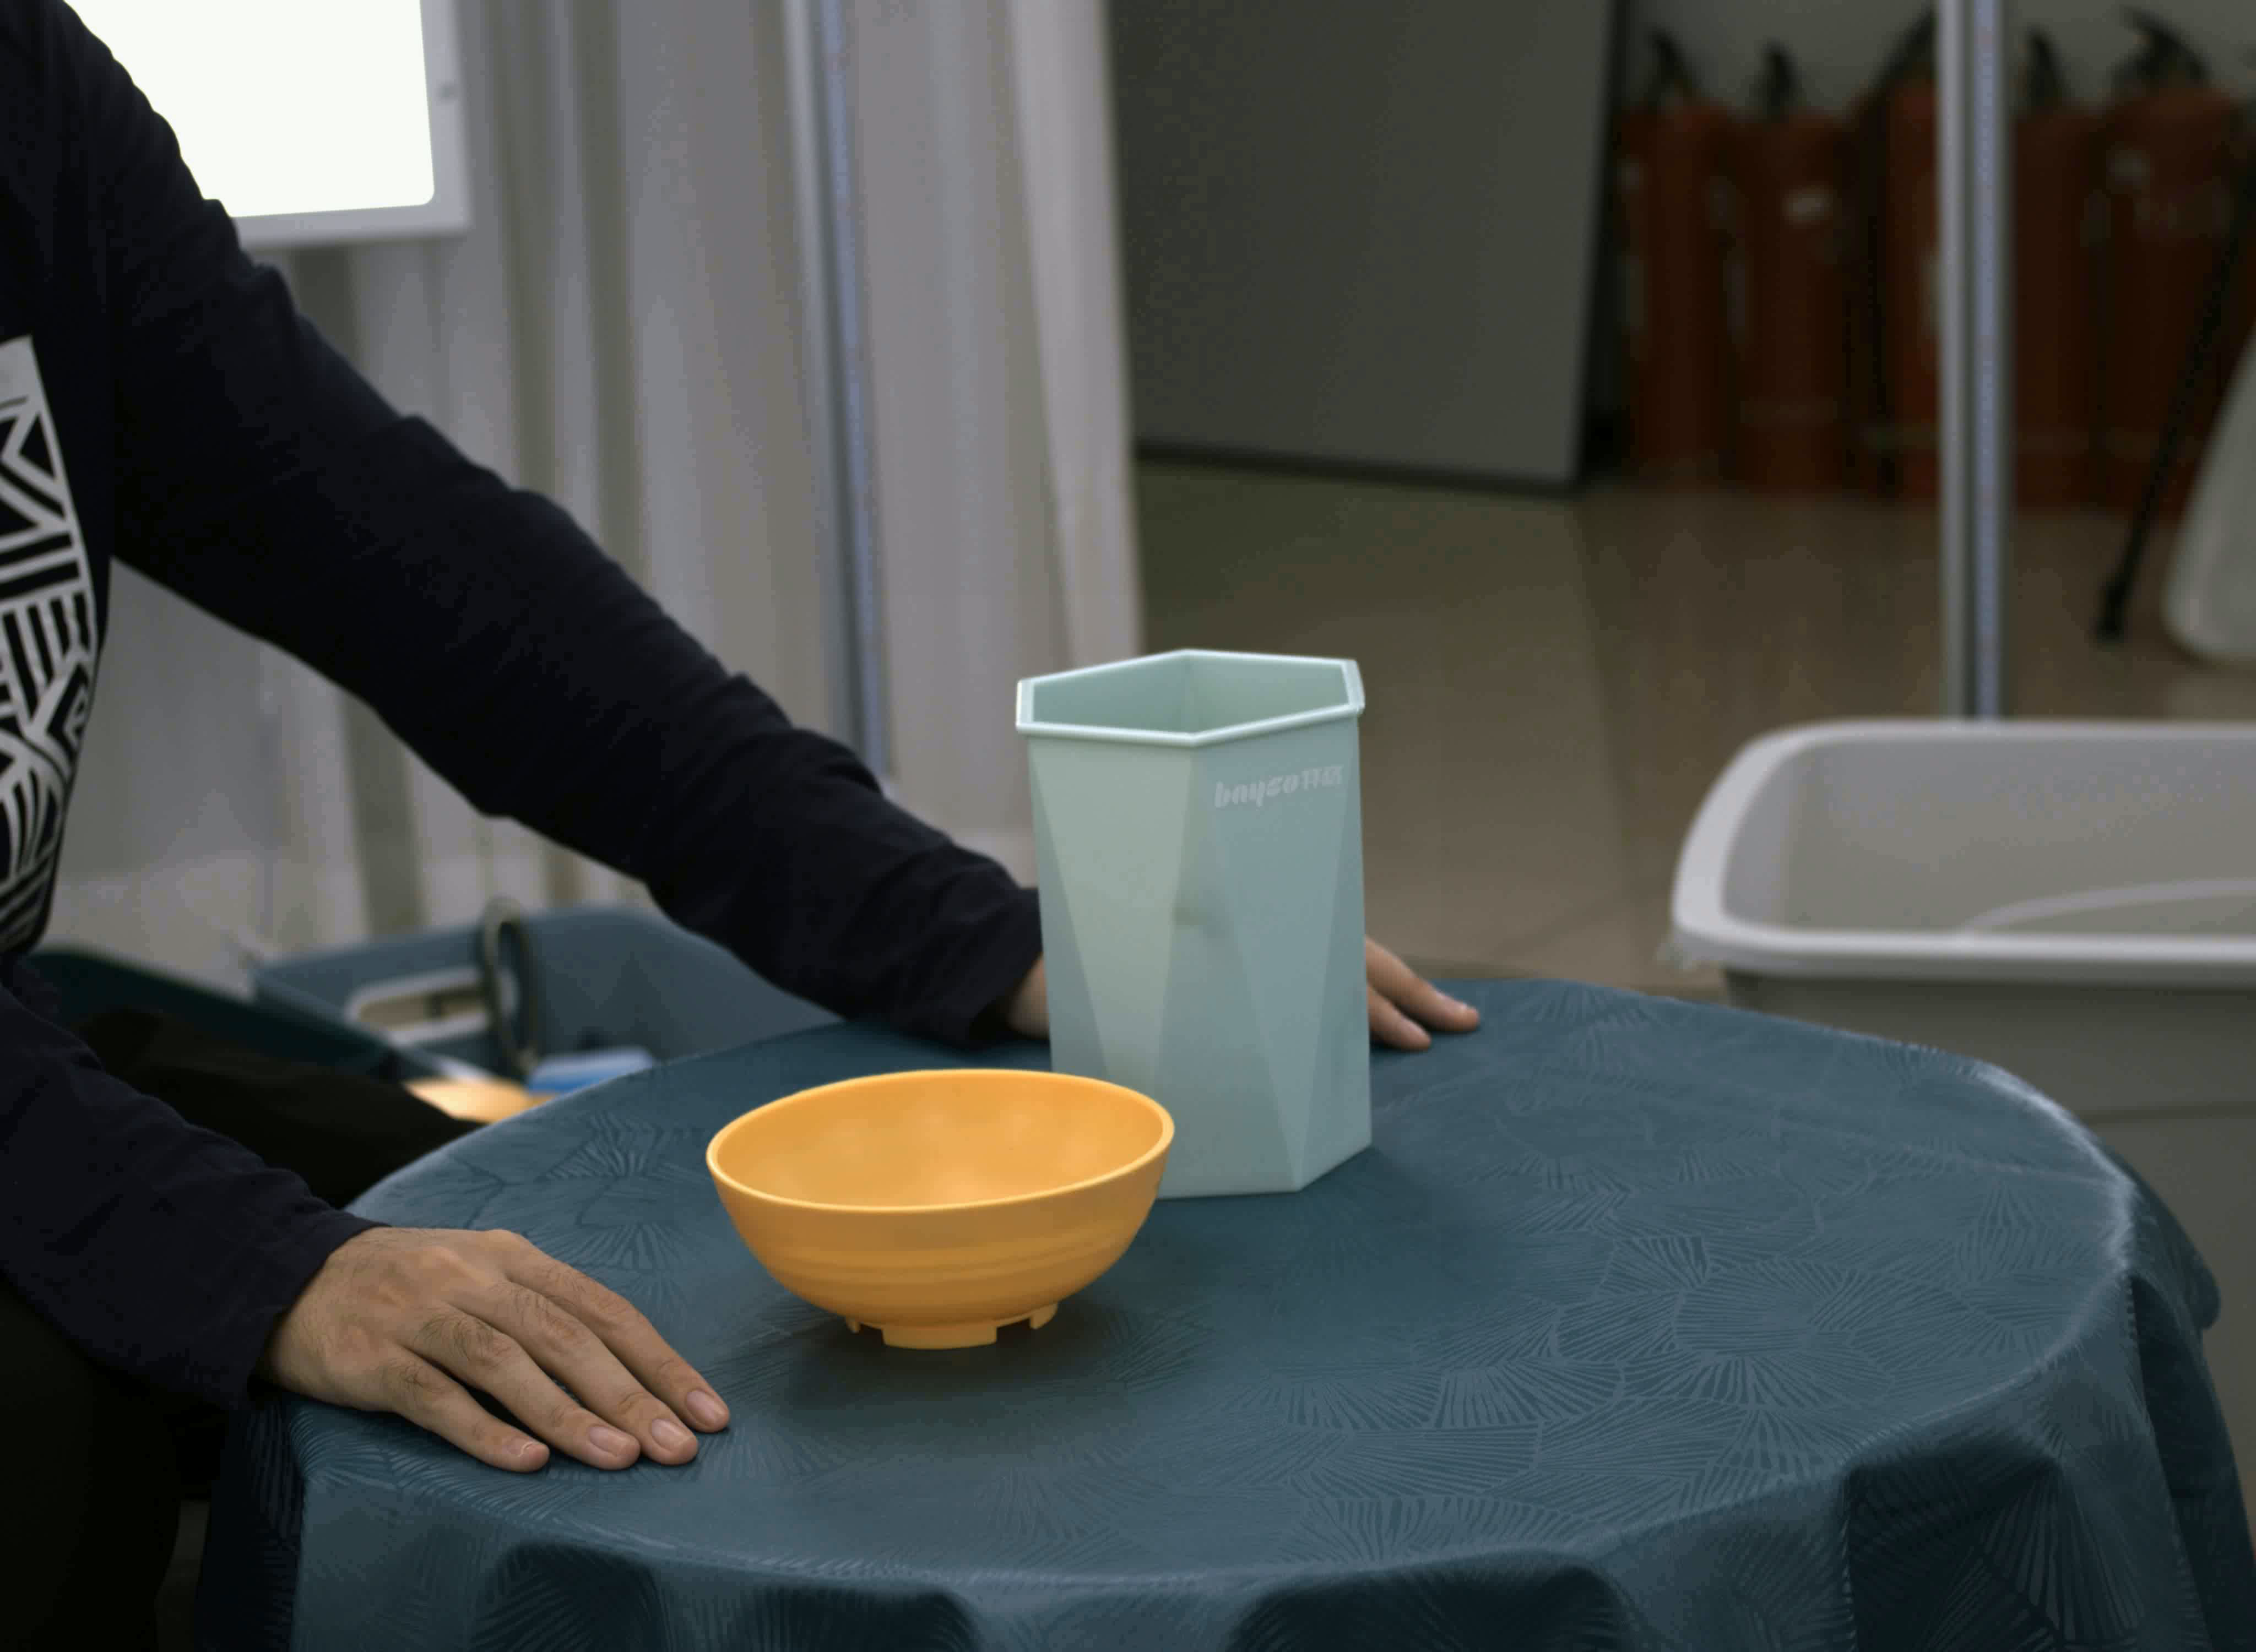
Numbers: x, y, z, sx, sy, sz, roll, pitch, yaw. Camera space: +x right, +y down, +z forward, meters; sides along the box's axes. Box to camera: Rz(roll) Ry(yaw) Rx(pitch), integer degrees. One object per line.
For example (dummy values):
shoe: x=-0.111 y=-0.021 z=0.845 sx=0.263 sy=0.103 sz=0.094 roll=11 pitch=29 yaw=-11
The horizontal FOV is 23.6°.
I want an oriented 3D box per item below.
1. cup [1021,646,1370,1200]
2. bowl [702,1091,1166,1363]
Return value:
cup: x=0.026 y=0.032 z=1.787 sx=0.128 sy=0.165 sz=0.116 roll=-11 pitch=14 yaw=-29
bowl: x=-0.057 y=0.127 z=1.658 sx=0.143 sy=0.061 sz=0.145 roll=-5 pitch=11 yaw=0
